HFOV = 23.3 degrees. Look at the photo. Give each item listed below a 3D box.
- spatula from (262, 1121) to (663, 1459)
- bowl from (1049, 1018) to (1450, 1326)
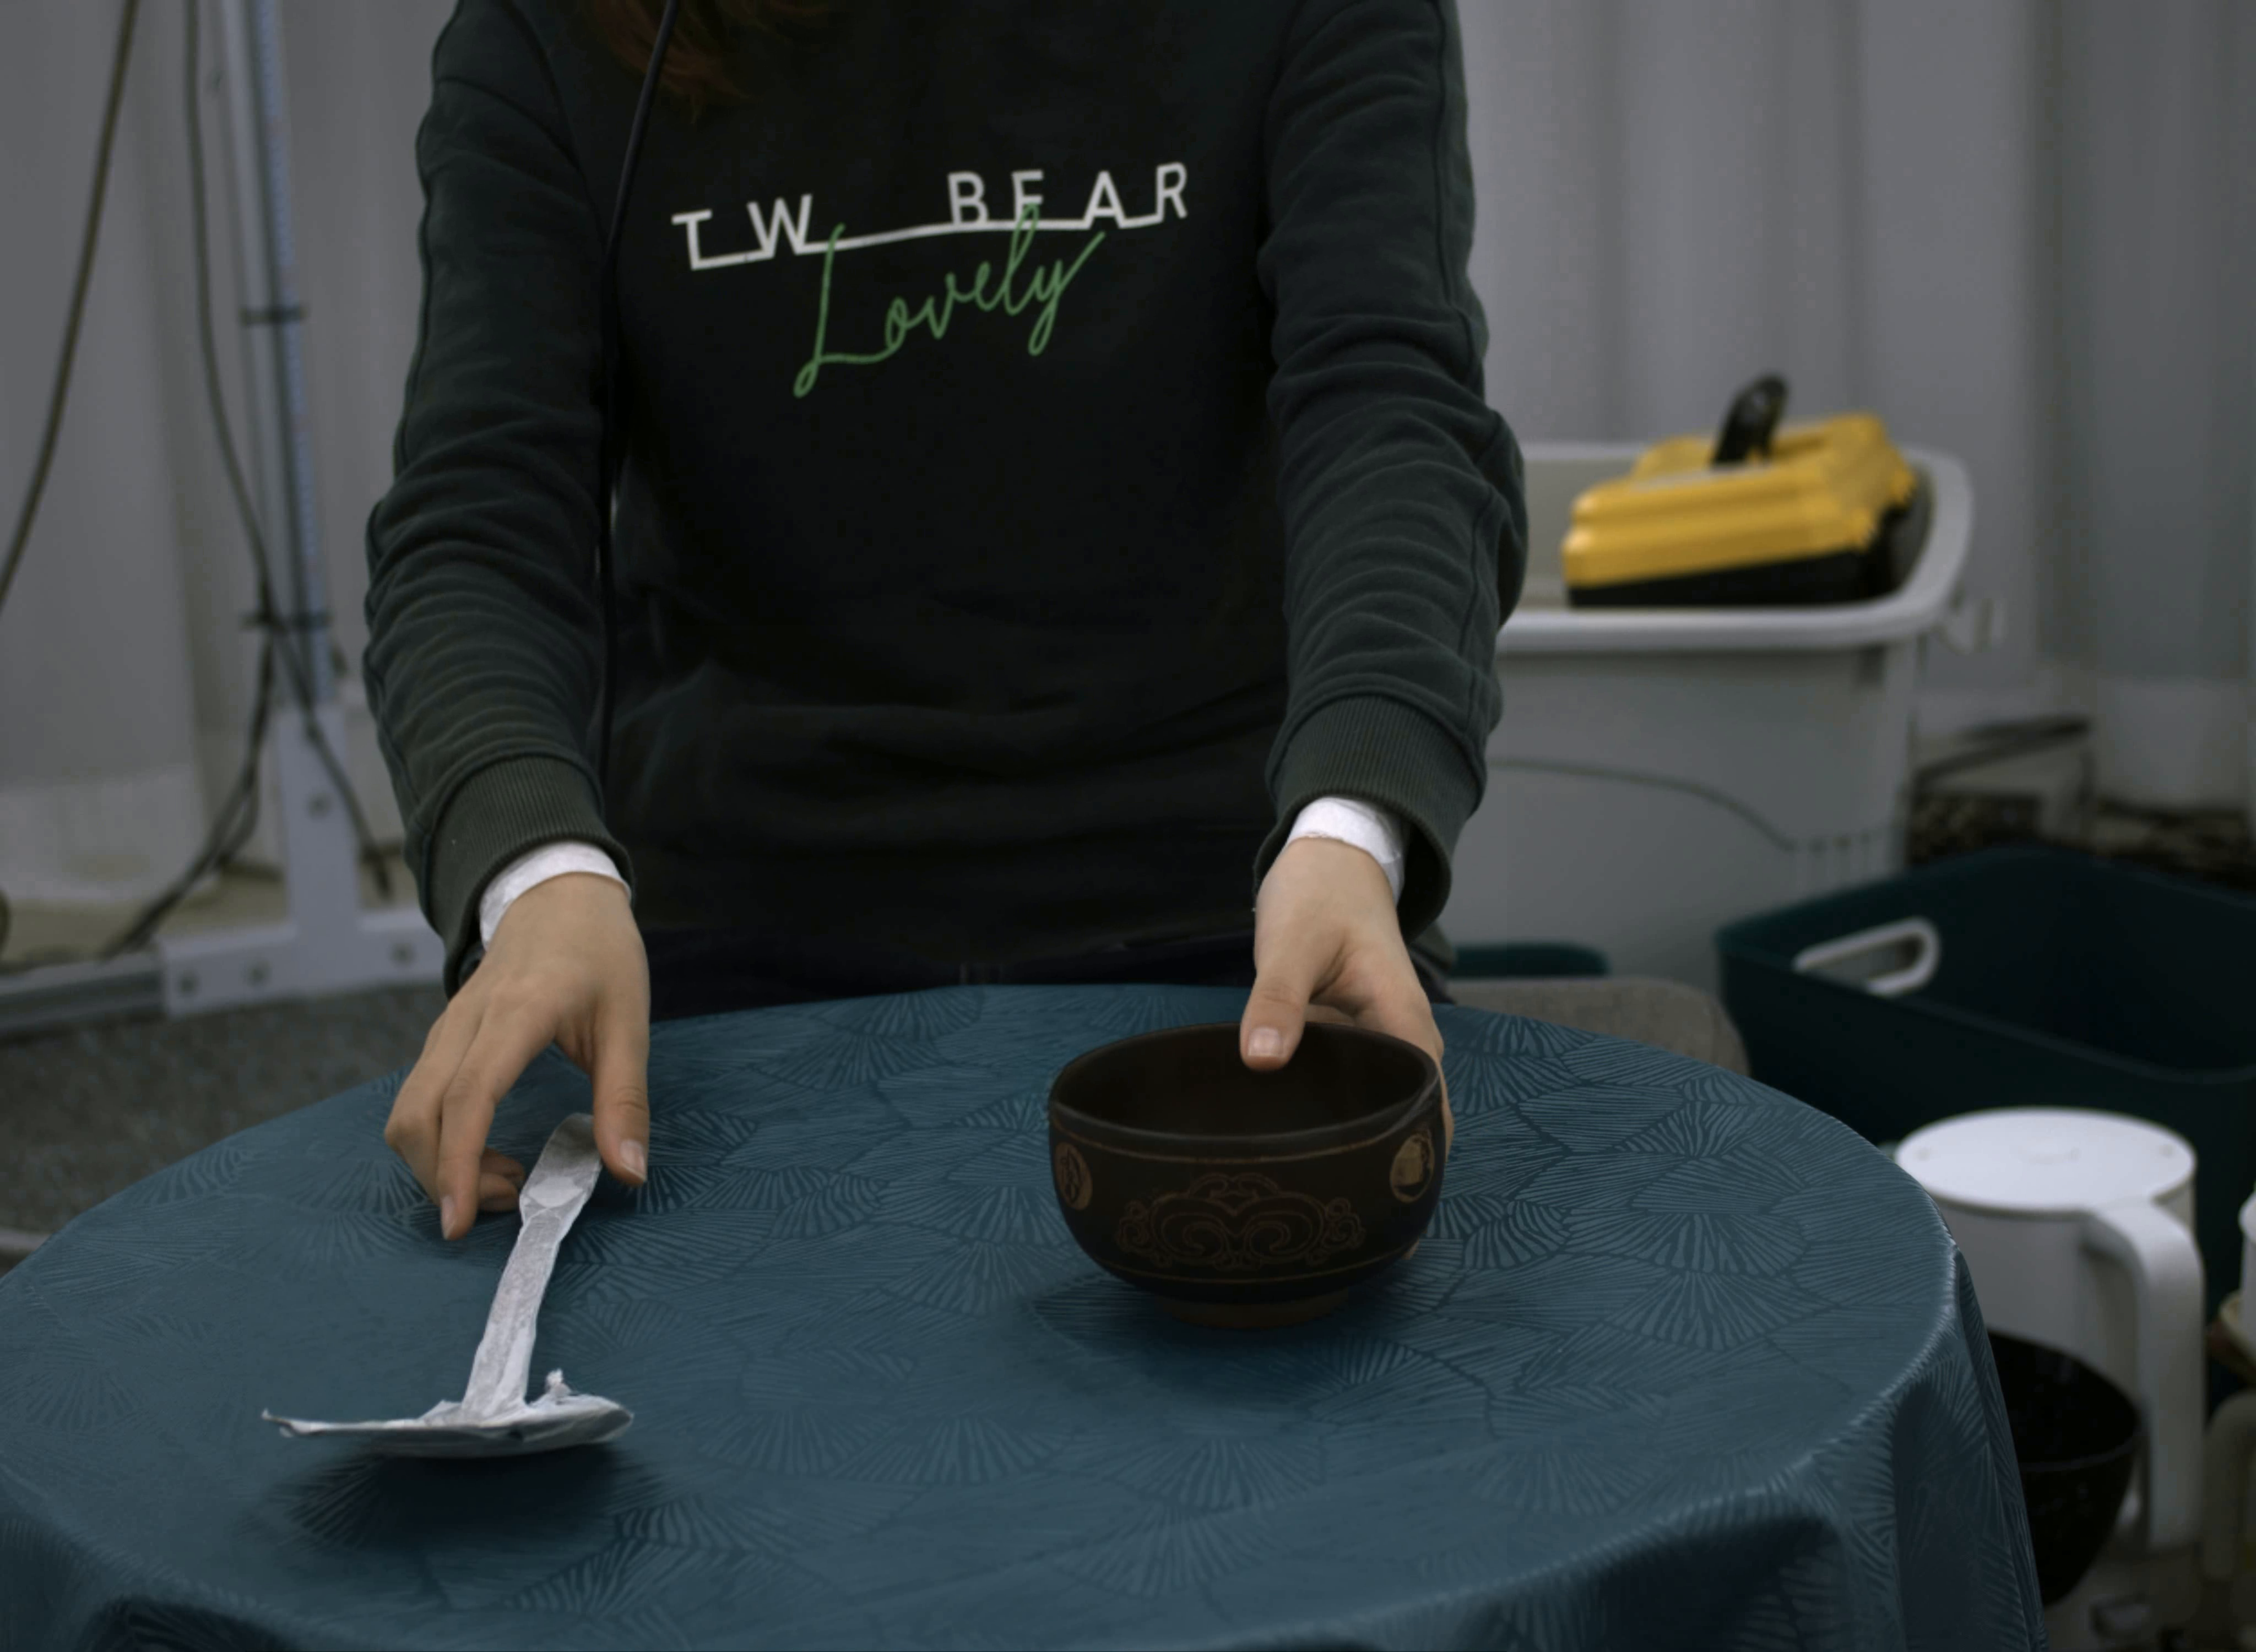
[{"bbox_3d":[-0.175,0.129,1.621,0.098,0.044,0.367,-4,15,4],"label":"spatula"},{"bbox_3d":[0.036,0.105,1.606,0.117,0.069,0.119,-1,14,0],"label":"bowl"}]
